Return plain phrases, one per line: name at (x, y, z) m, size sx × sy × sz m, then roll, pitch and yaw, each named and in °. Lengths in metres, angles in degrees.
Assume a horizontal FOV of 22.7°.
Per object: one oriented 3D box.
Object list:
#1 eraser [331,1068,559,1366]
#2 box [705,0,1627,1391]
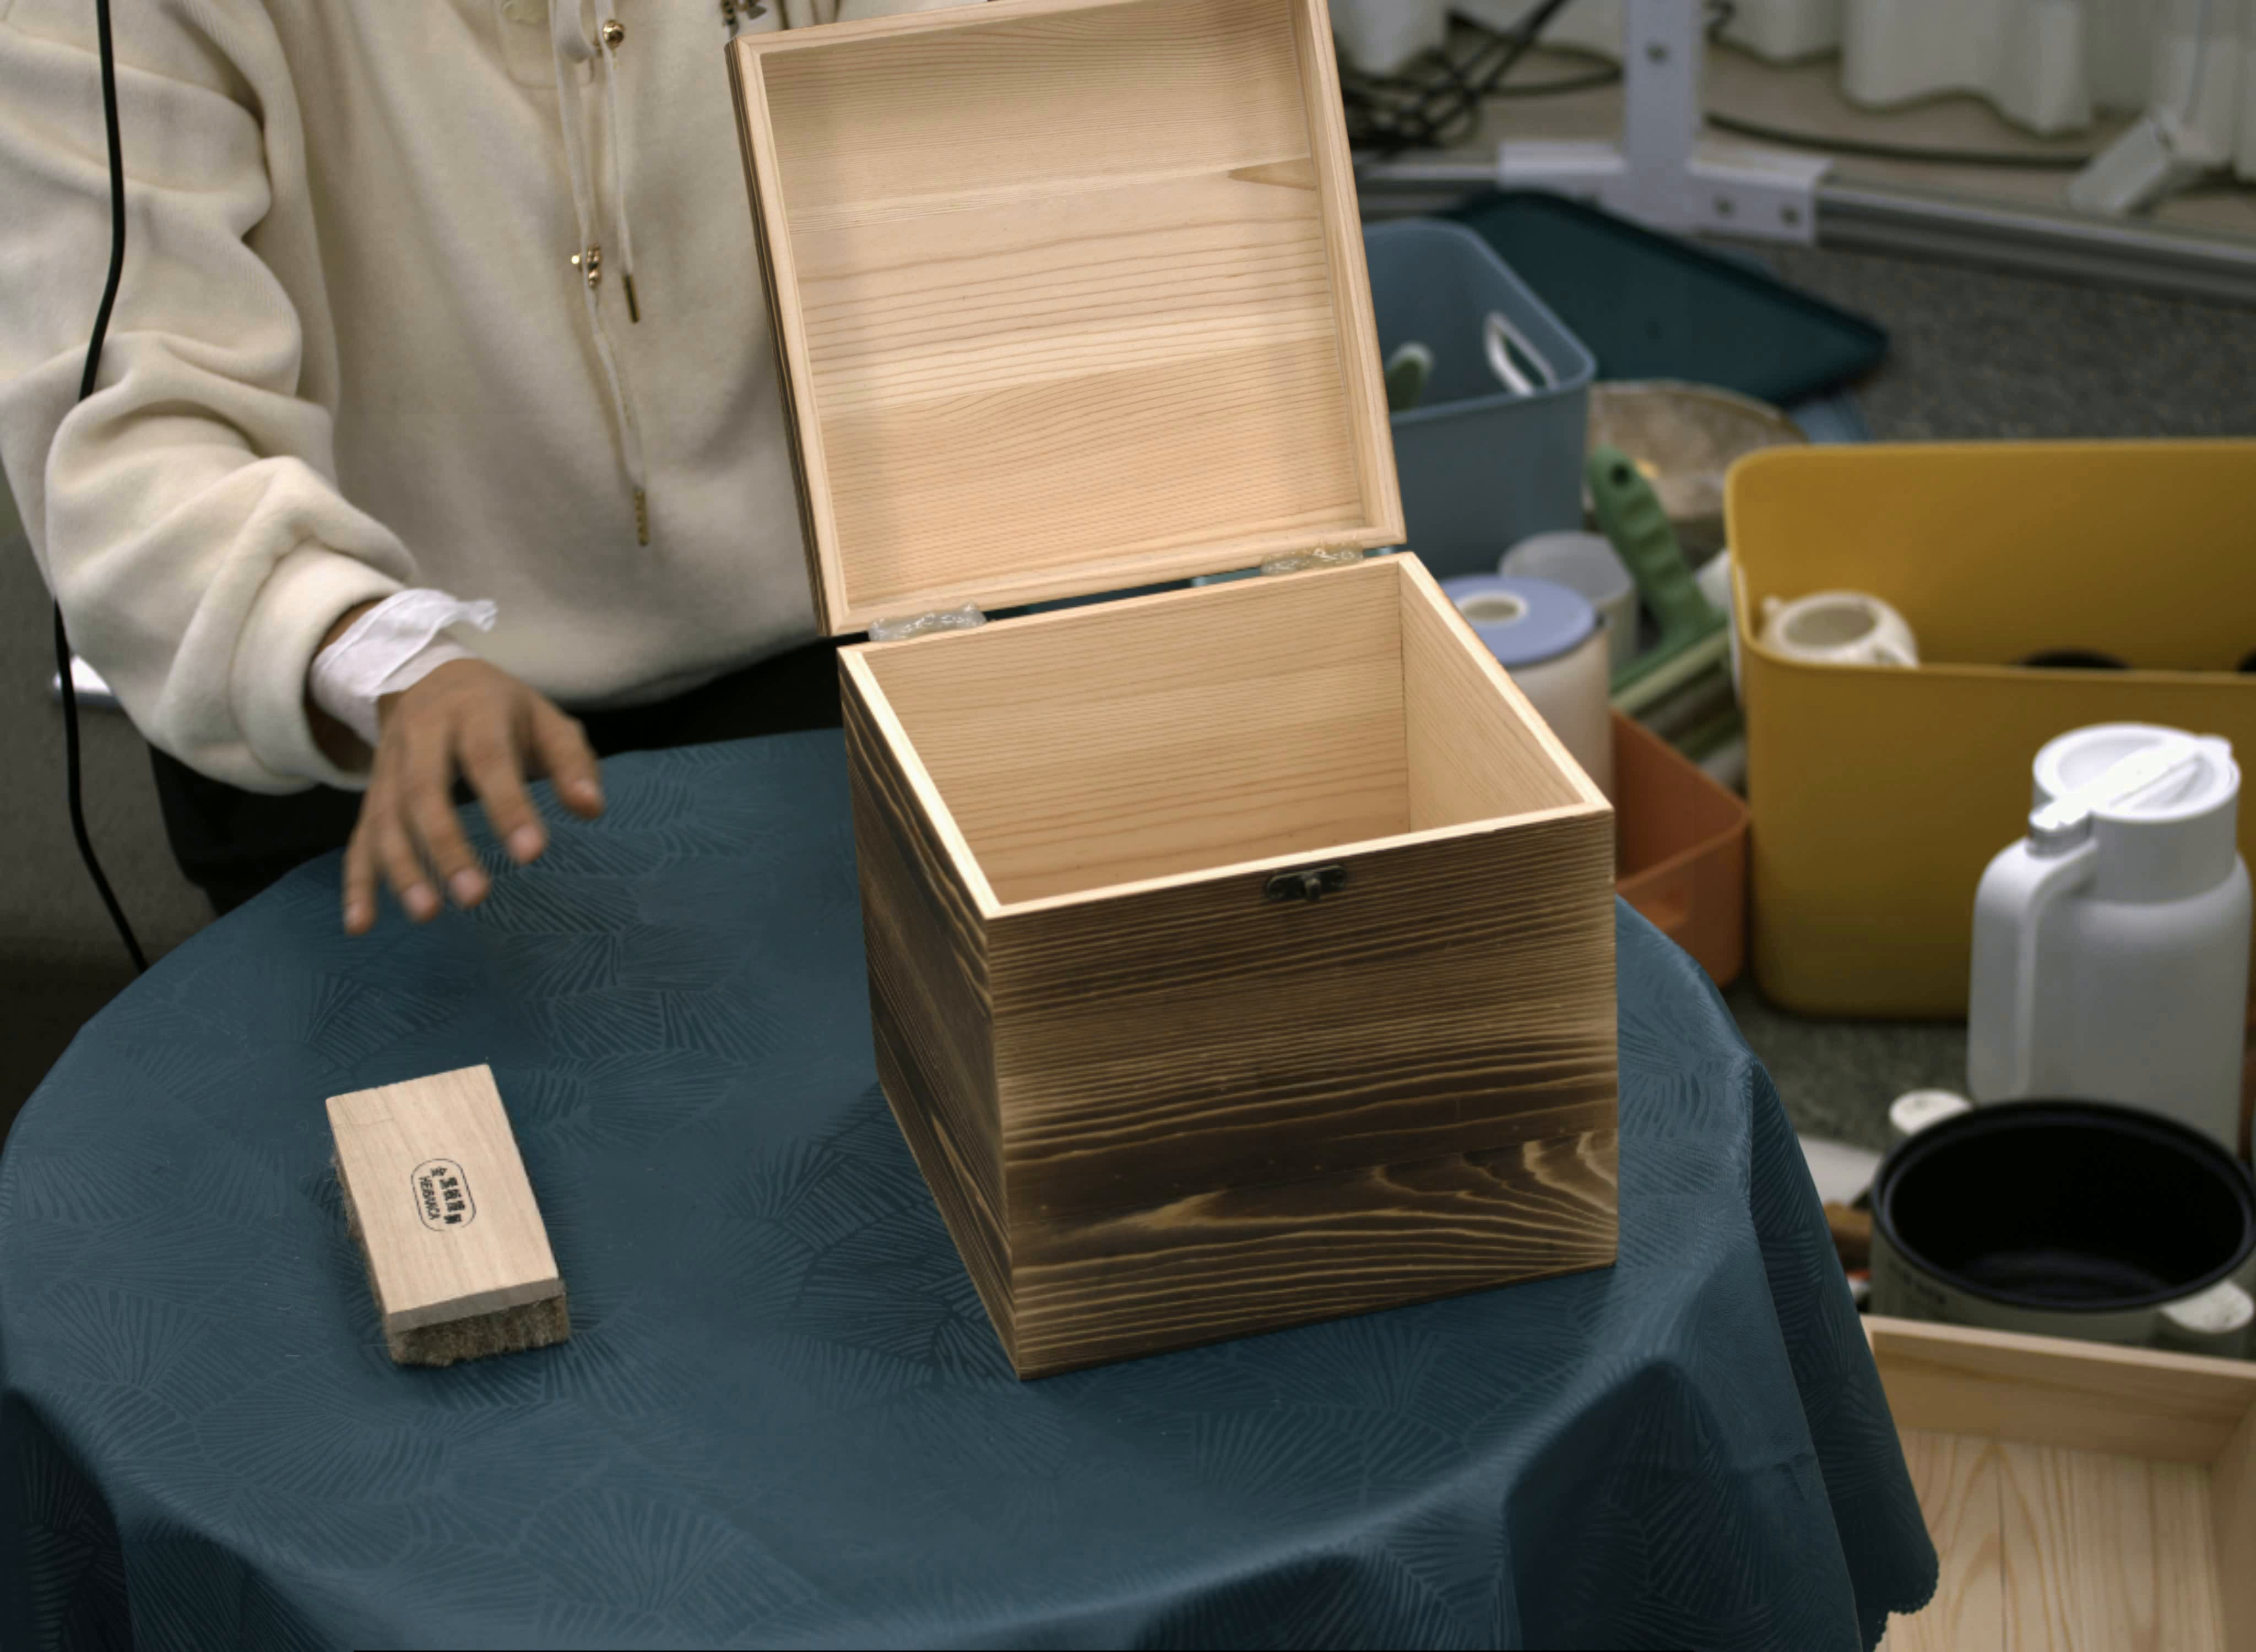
eraser at (-0.224, 0.129, 1.838) m, size 0.057 × 0.028 × 0.141 m, roll -12°, pitch 28°, yaw -10°
box at (0.010, -0.067, 1.835) m, size 0.209 × 0.371 × 0.325 m, roll -11°, pitch 28°, yaw -13°
